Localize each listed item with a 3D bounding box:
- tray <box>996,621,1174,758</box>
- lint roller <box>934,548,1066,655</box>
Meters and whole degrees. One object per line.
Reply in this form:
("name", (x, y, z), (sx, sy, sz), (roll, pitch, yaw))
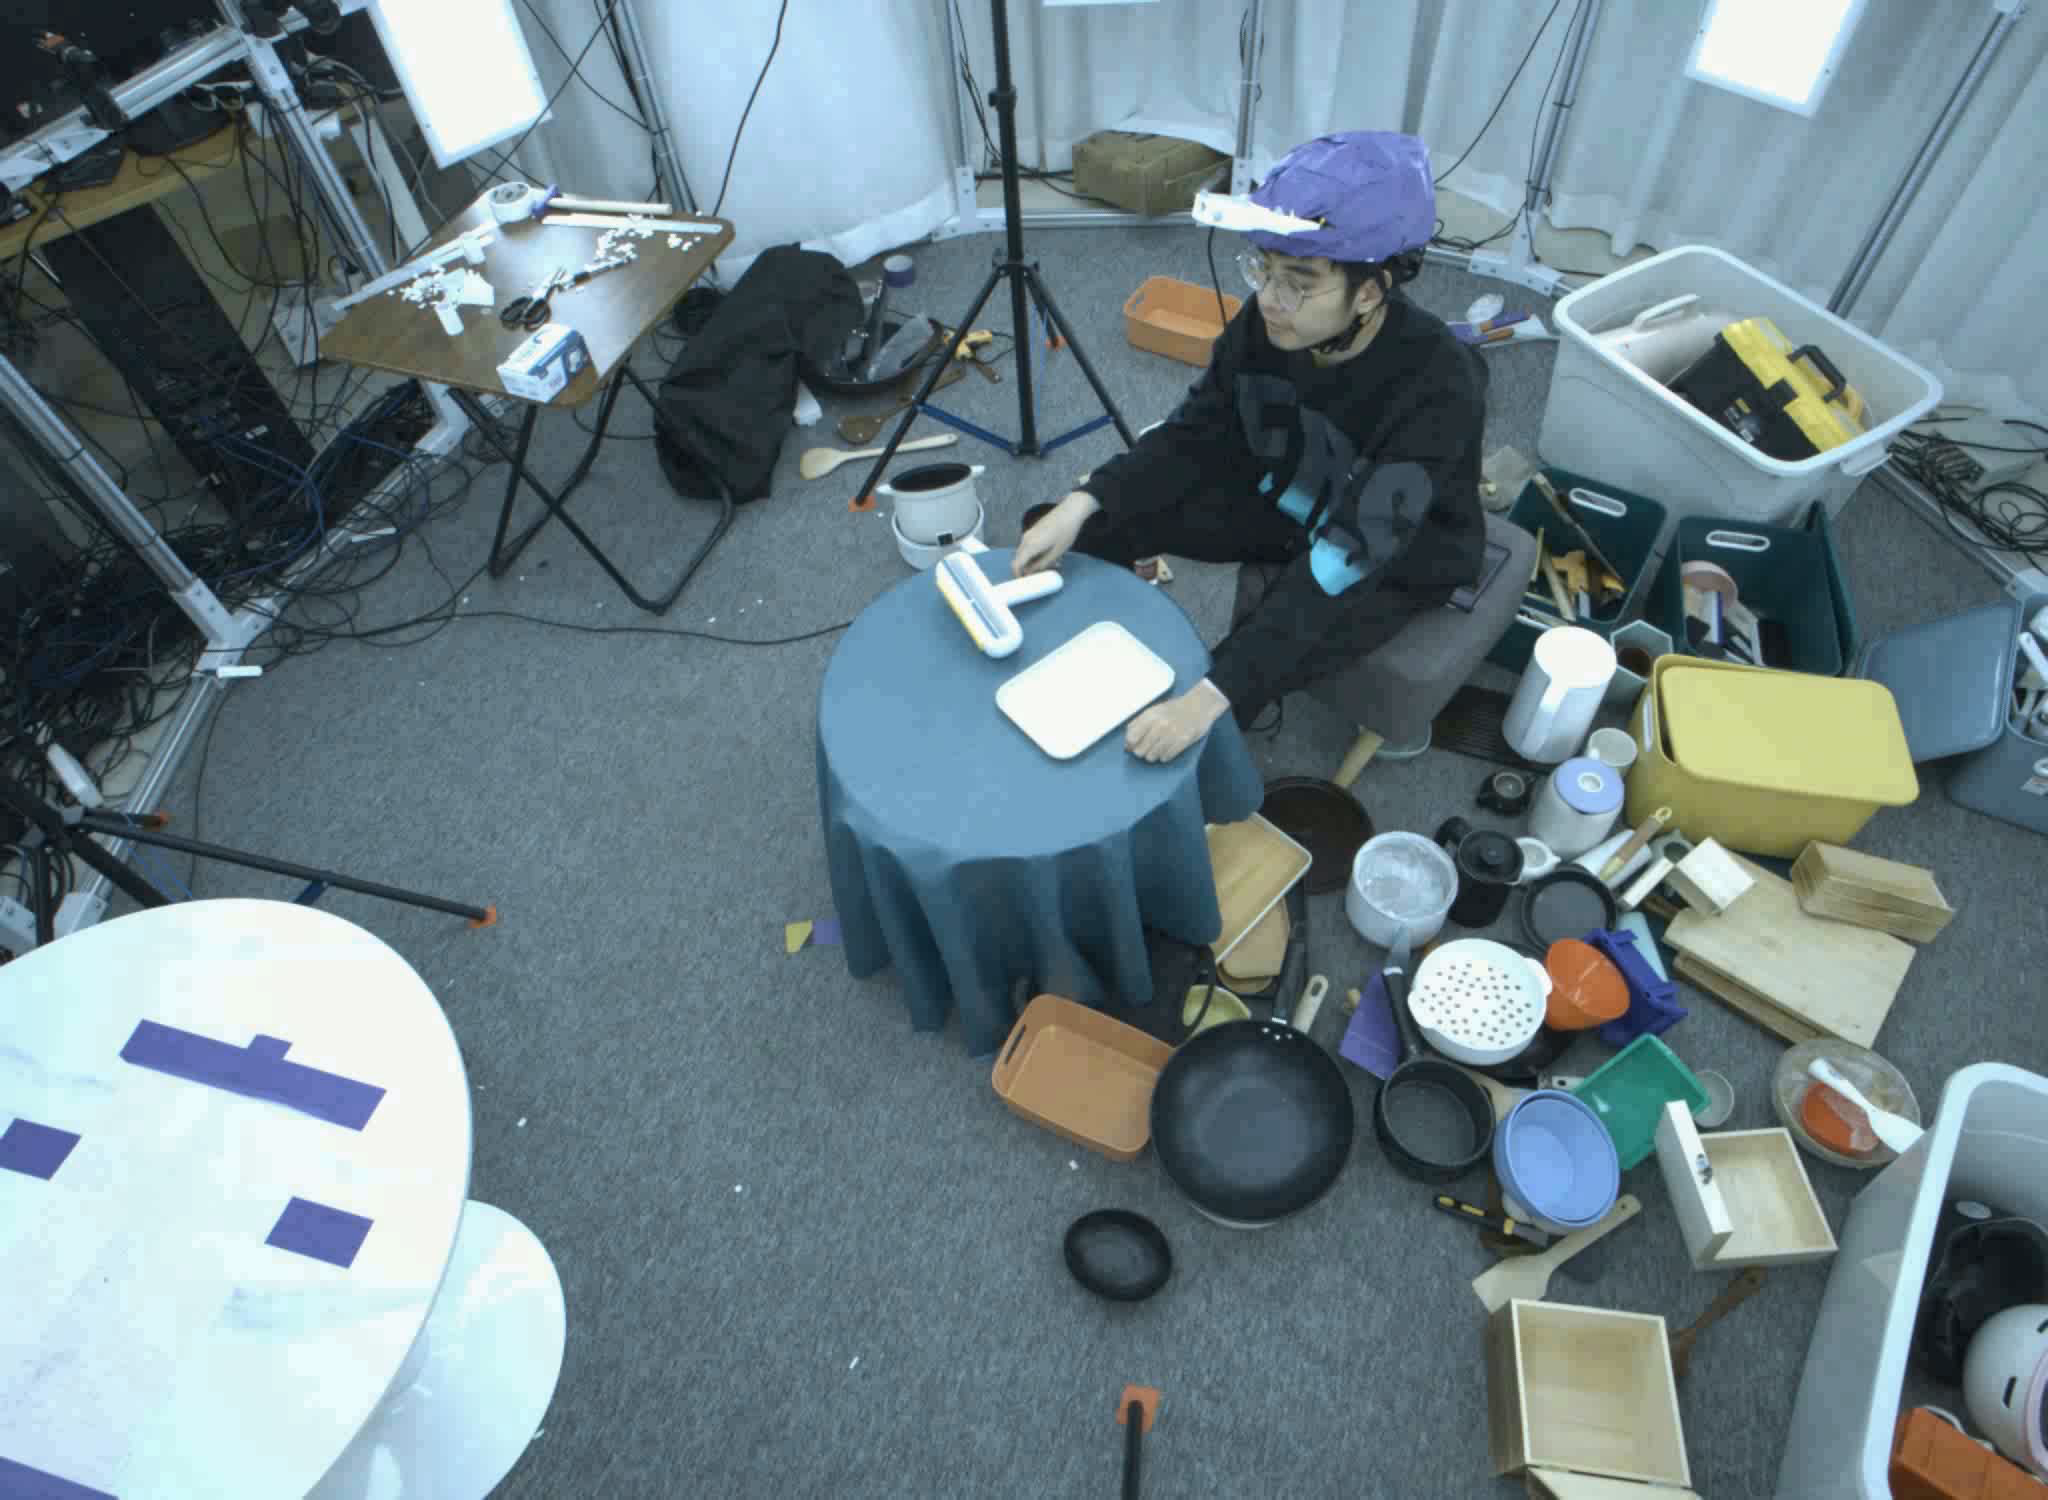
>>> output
("tray", (0.092, -0.091, 1.833), (0.241, 0.017, 0.168), (-34, 60, -20))
("lint roller", (-0.022, -0.248, 1.918), (0.194, 0.075, 0.189), (-24, 62, -16))
